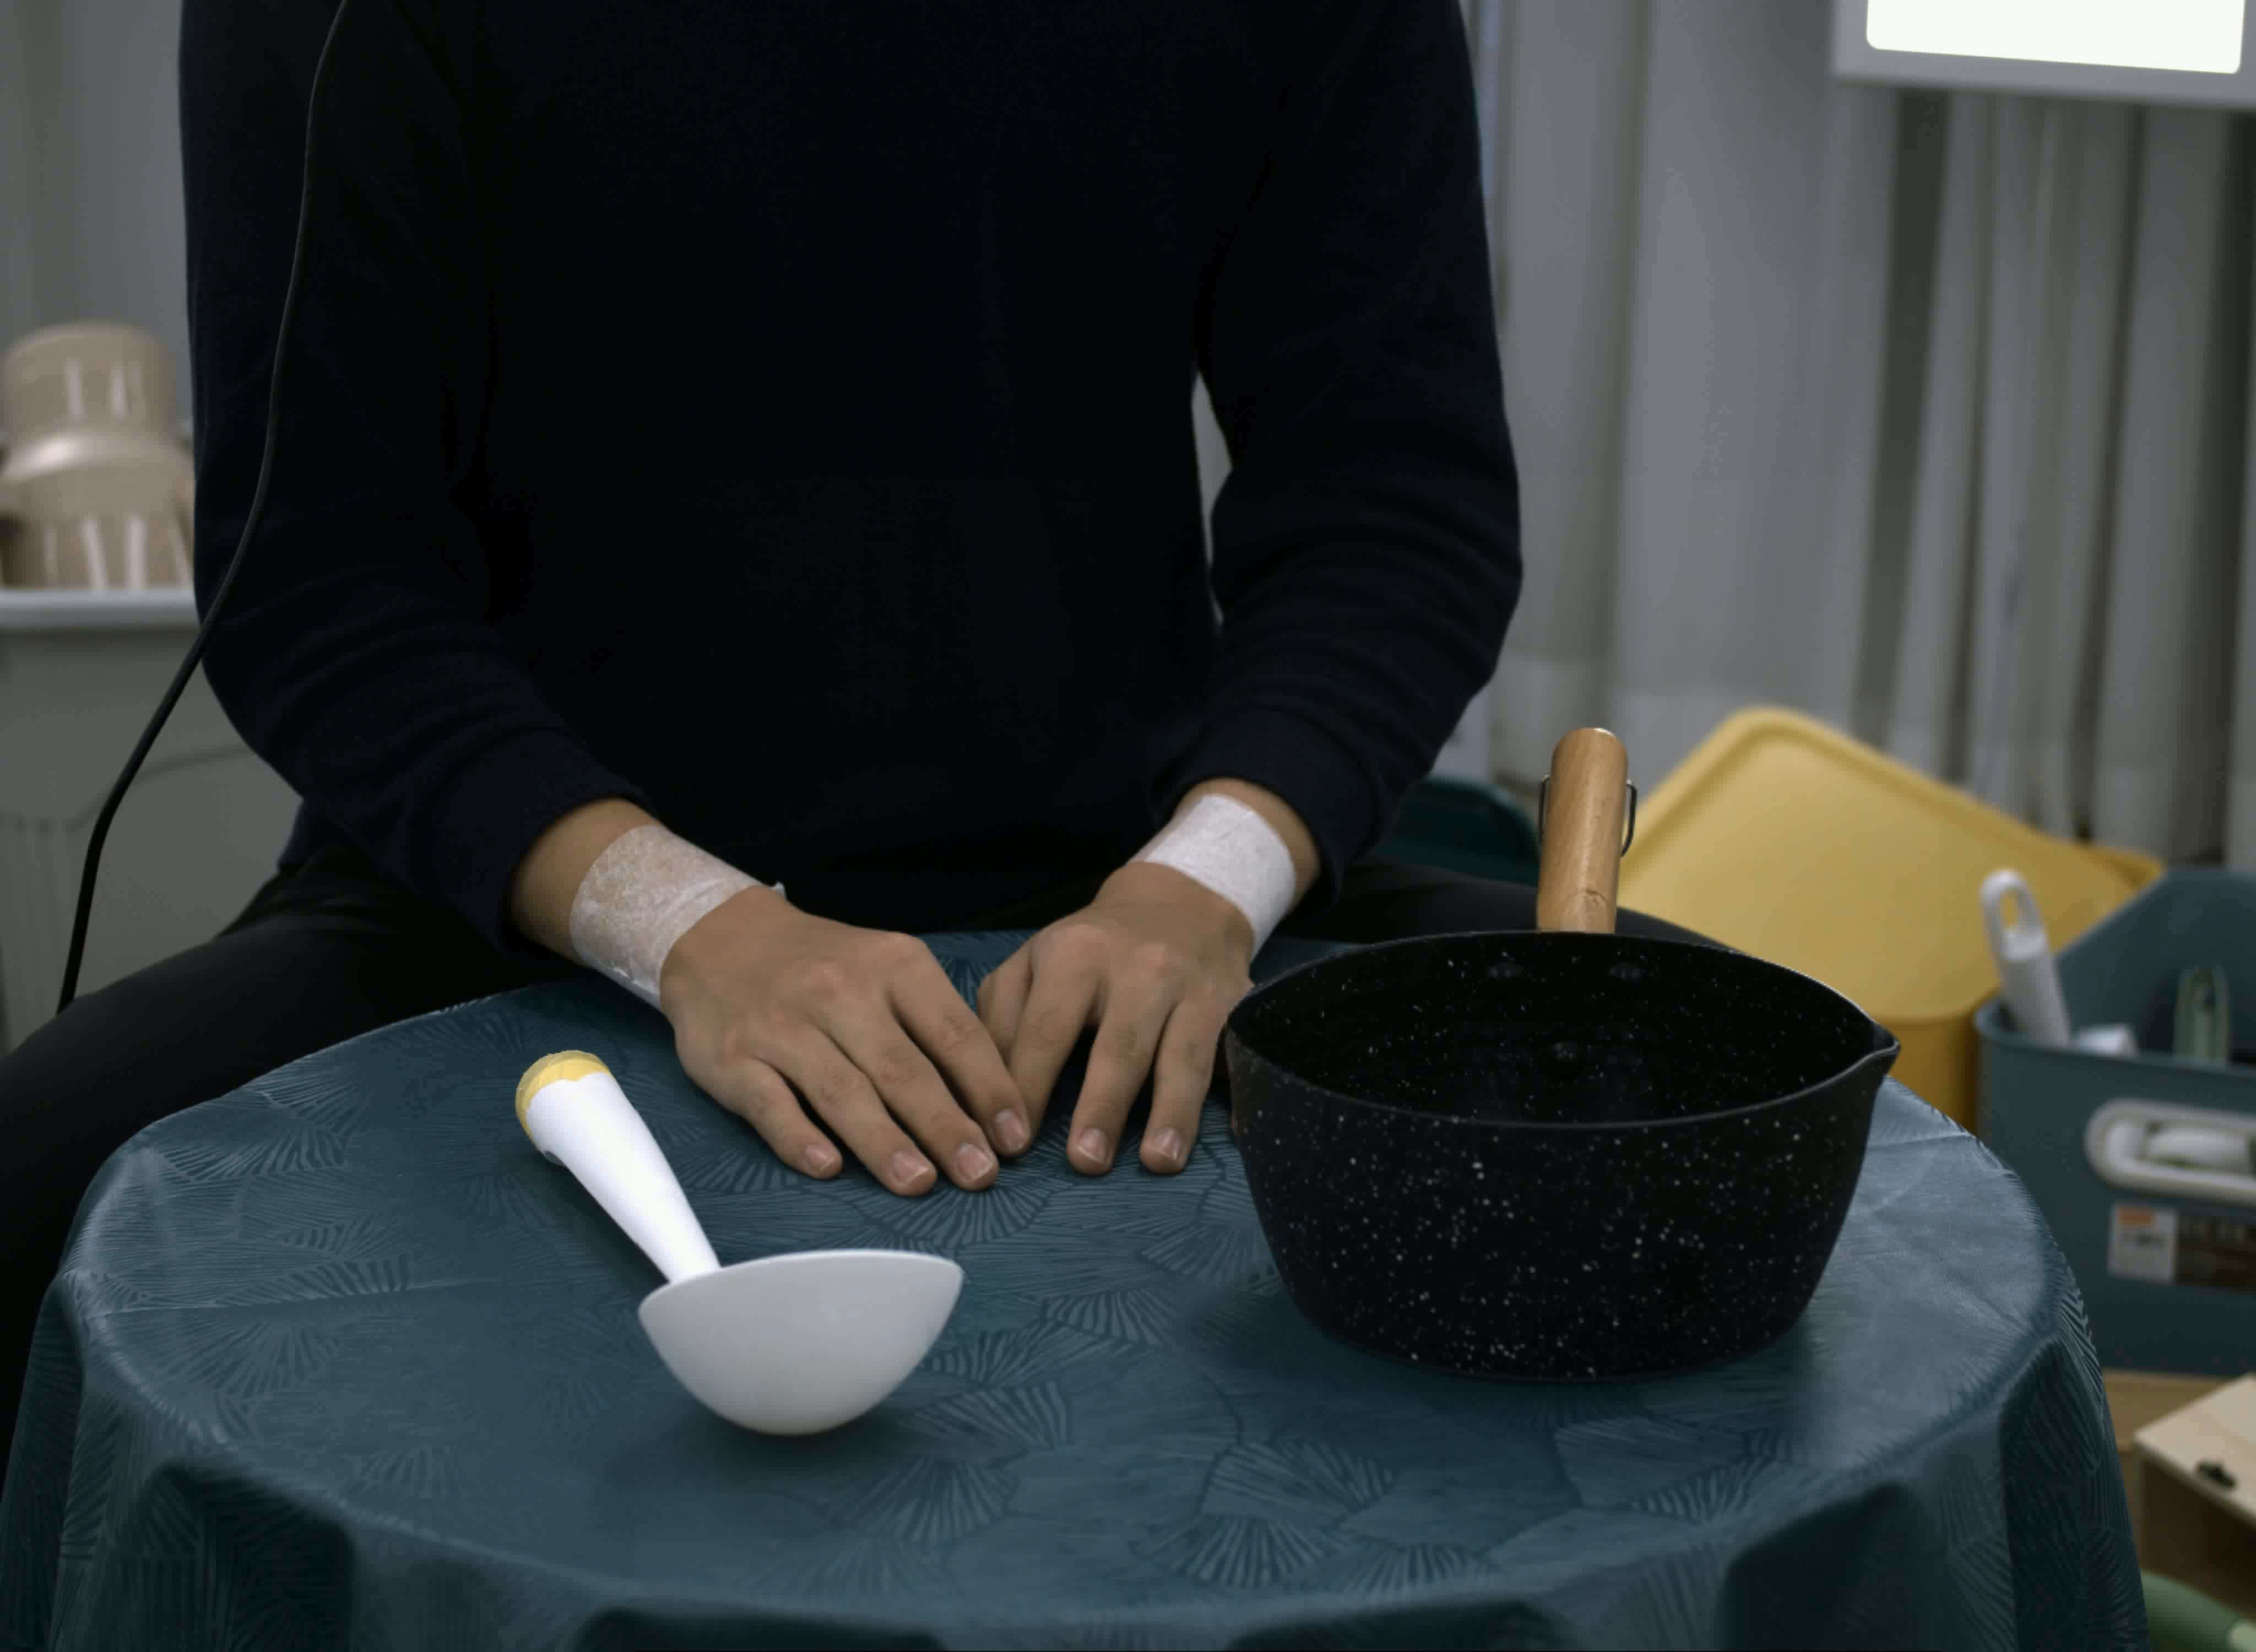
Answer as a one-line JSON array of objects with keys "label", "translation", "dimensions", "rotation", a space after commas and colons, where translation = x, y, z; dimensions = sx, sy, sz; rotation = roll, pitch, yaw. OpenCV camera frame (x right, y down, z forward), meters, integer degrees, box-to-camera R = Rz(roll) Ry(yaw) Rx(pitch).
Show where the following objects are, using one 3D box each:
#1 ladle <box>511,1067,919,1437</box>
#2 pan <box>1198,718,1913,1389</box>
[{"label": "ladle", "translation": [-0.134, 0.107, 1.515], "dimensions": [0.090, 0.070, 0.290], "rotation": [-9, 17, -16]}, {"label": "pan", "translation": [0.130, 0.063, 1.599], "dimensions": [0.206, 0.109, 0.341], "rotation": [1, 17, 6]}]
